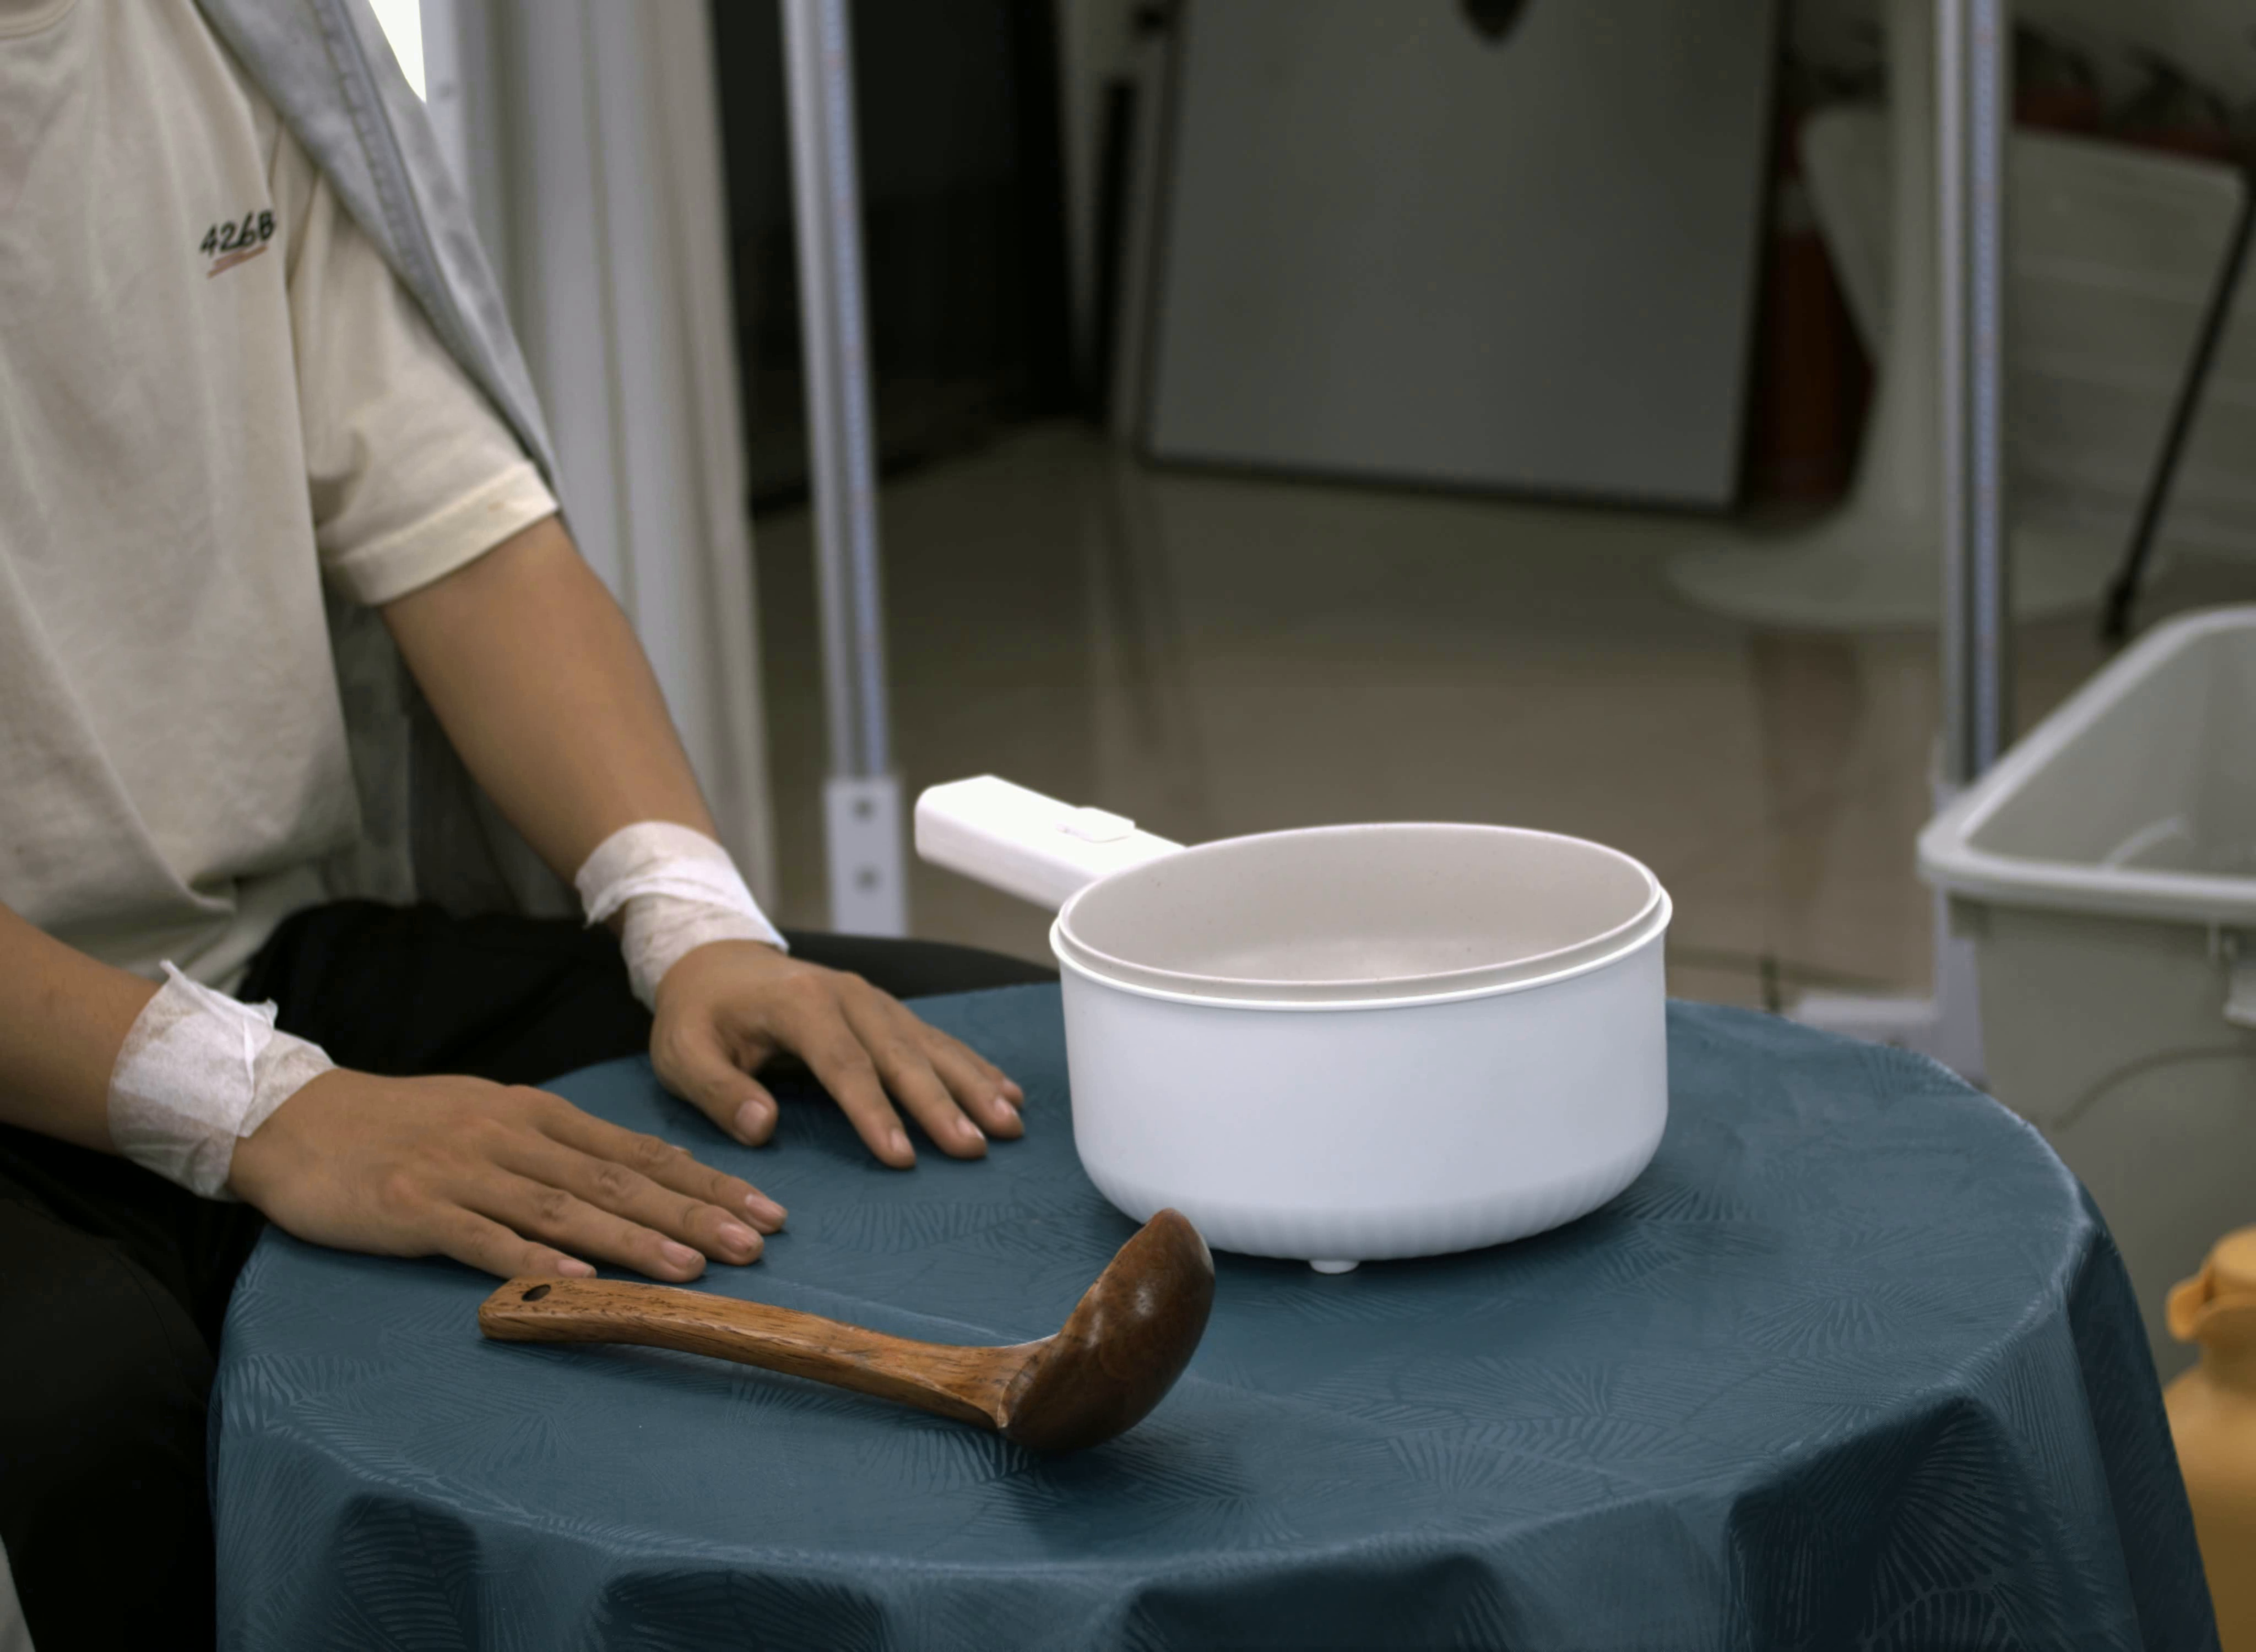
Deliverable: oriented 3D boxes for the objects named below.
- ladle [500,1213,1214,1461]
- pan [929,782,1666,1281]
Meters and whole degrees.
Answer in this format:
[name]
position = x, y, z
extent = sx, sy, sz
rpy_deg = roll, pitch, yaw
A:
[ladle]
position = -0.091, 0.134, 1.587
extent = 0.276, 0.077, 0.081
rpy_deg = 9, 30, 38
[pan]
position = 0.037, 0.061, 1.806
extent = 0.197, 0.103, 0.358
rpy_deg = -13, 16, -29
